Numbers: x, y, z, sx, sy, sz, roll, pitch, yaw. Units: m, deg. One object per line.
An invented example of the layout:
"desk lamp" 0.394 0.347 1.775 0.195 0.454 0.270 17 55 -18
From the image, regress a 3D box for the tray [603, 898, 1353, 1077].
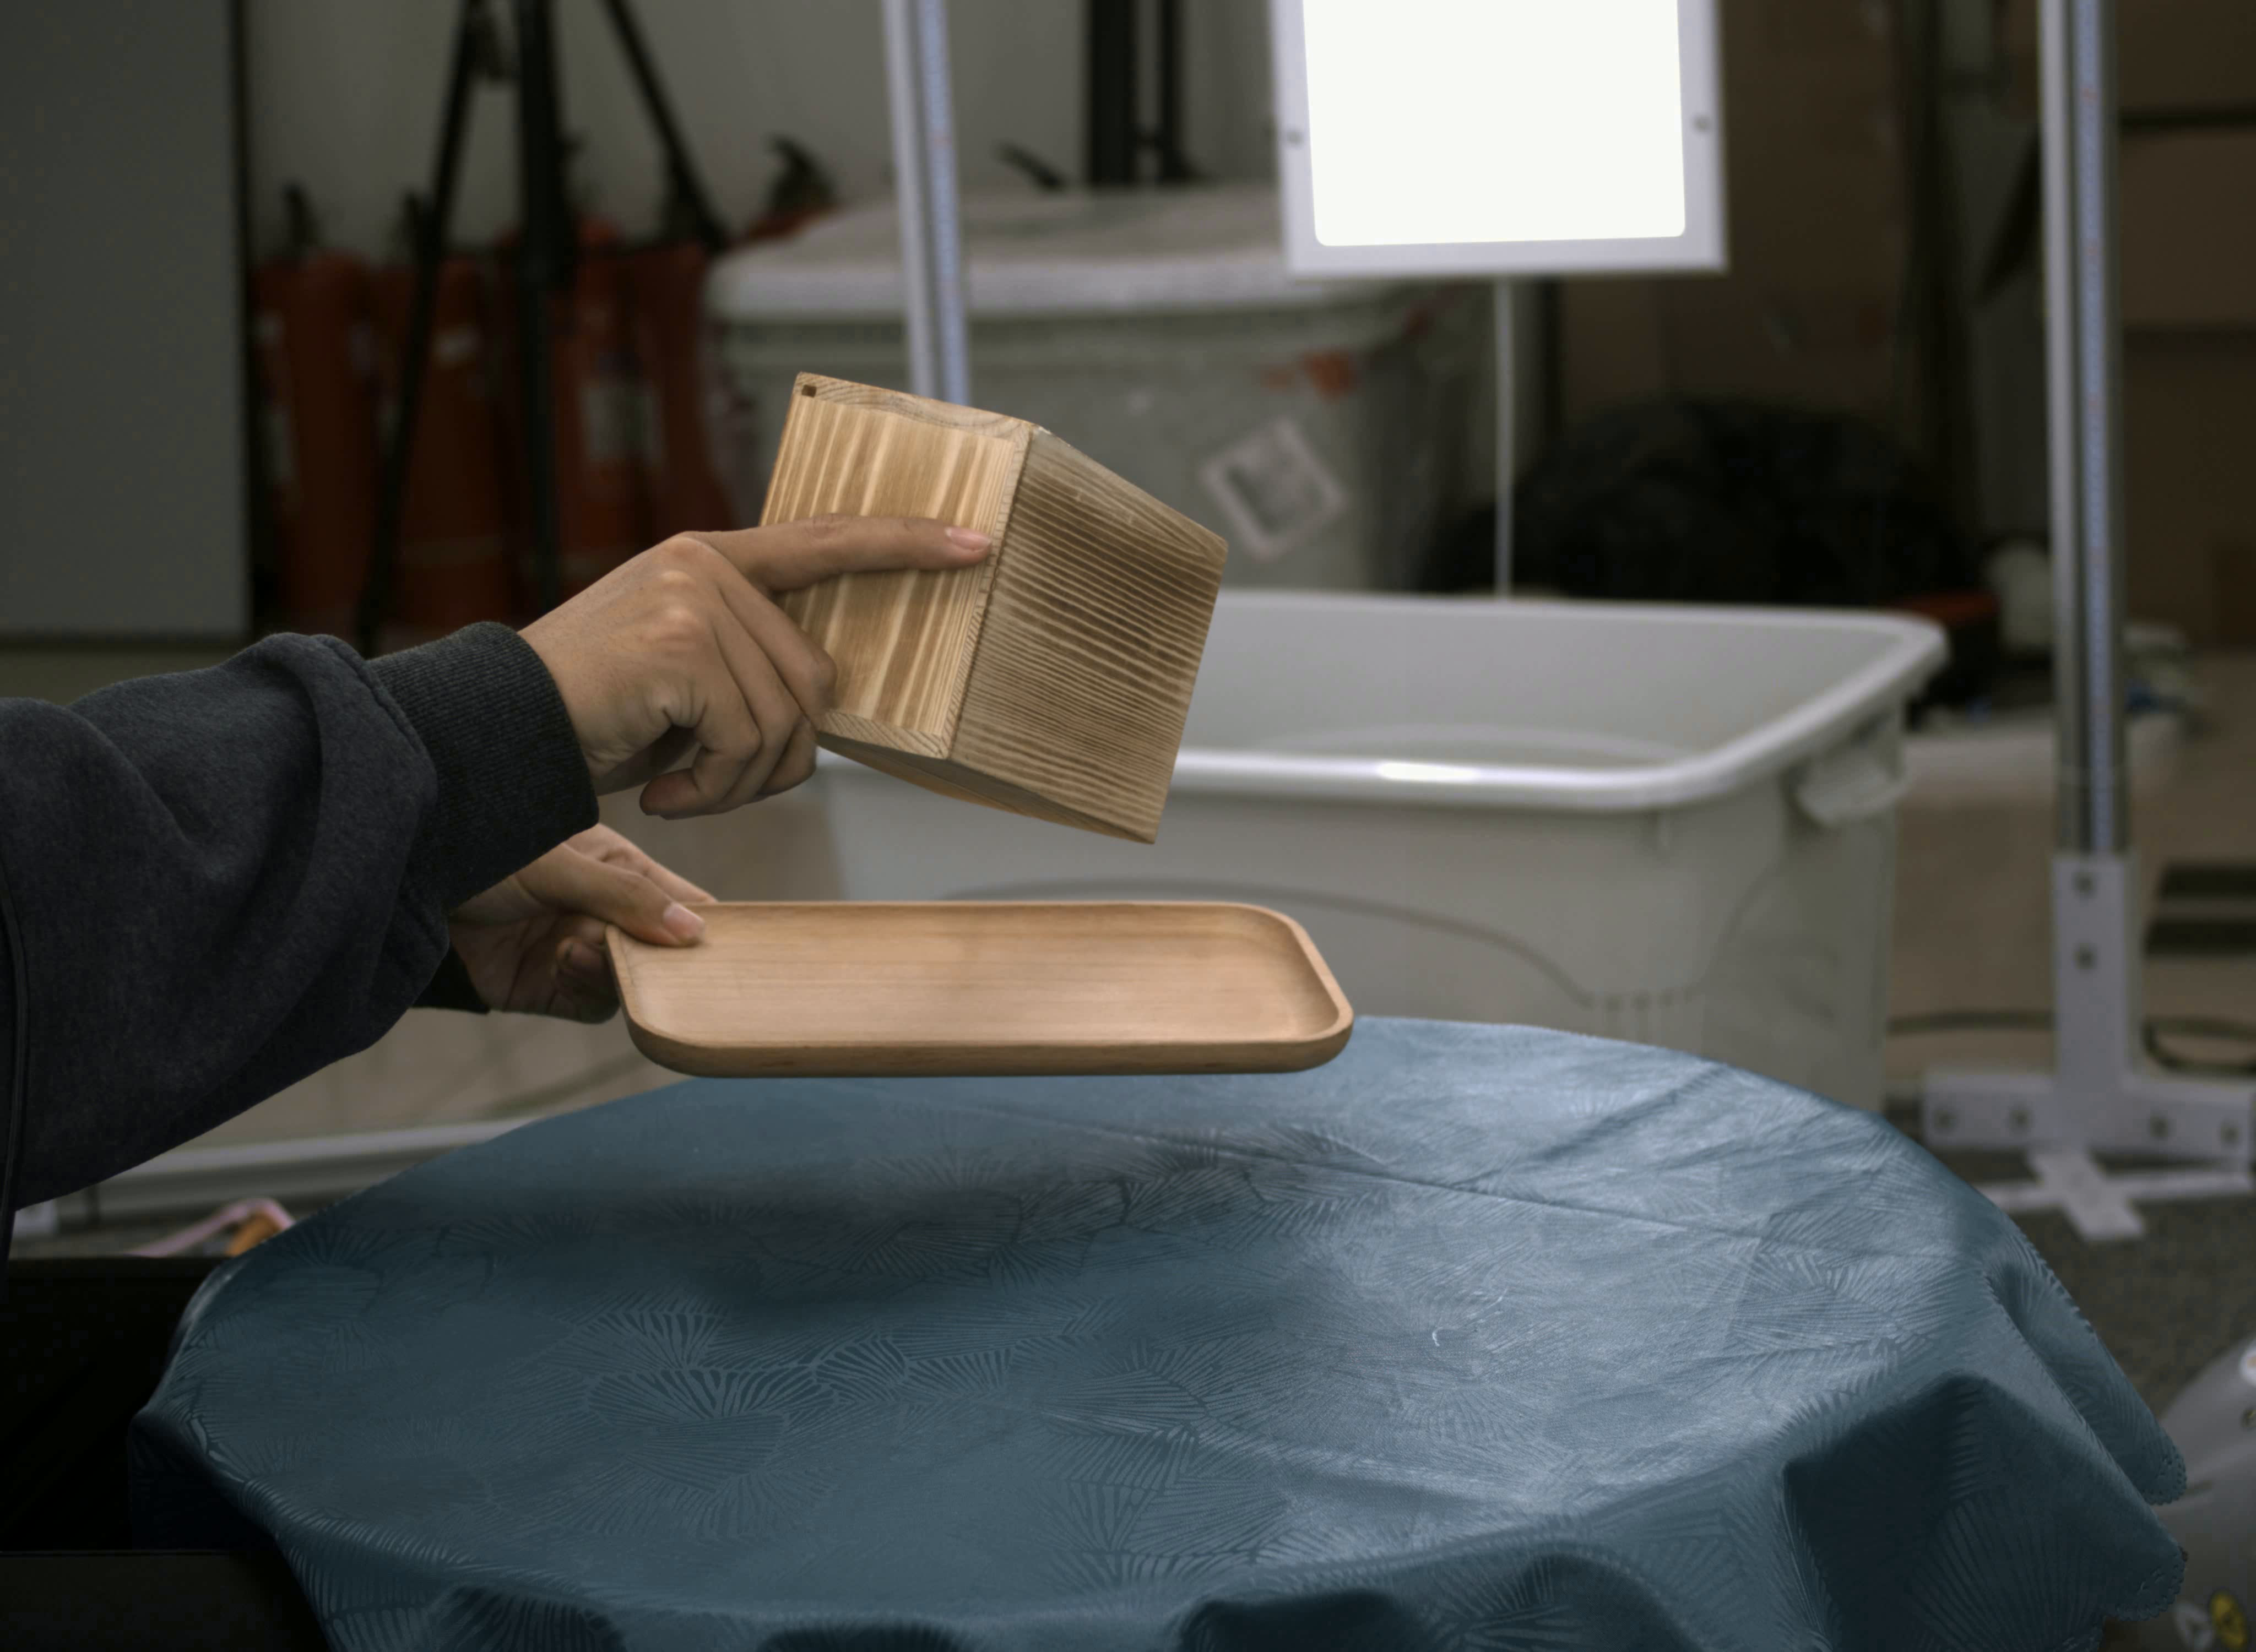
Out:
"tray" -0.052 0.056 1.892 0.248 0.023 0.131 0 19 -10

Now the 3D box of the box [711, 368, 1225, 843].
"box" -0.046 -0.066 1.745 0.081 0.108 0.208 13 -3 19
